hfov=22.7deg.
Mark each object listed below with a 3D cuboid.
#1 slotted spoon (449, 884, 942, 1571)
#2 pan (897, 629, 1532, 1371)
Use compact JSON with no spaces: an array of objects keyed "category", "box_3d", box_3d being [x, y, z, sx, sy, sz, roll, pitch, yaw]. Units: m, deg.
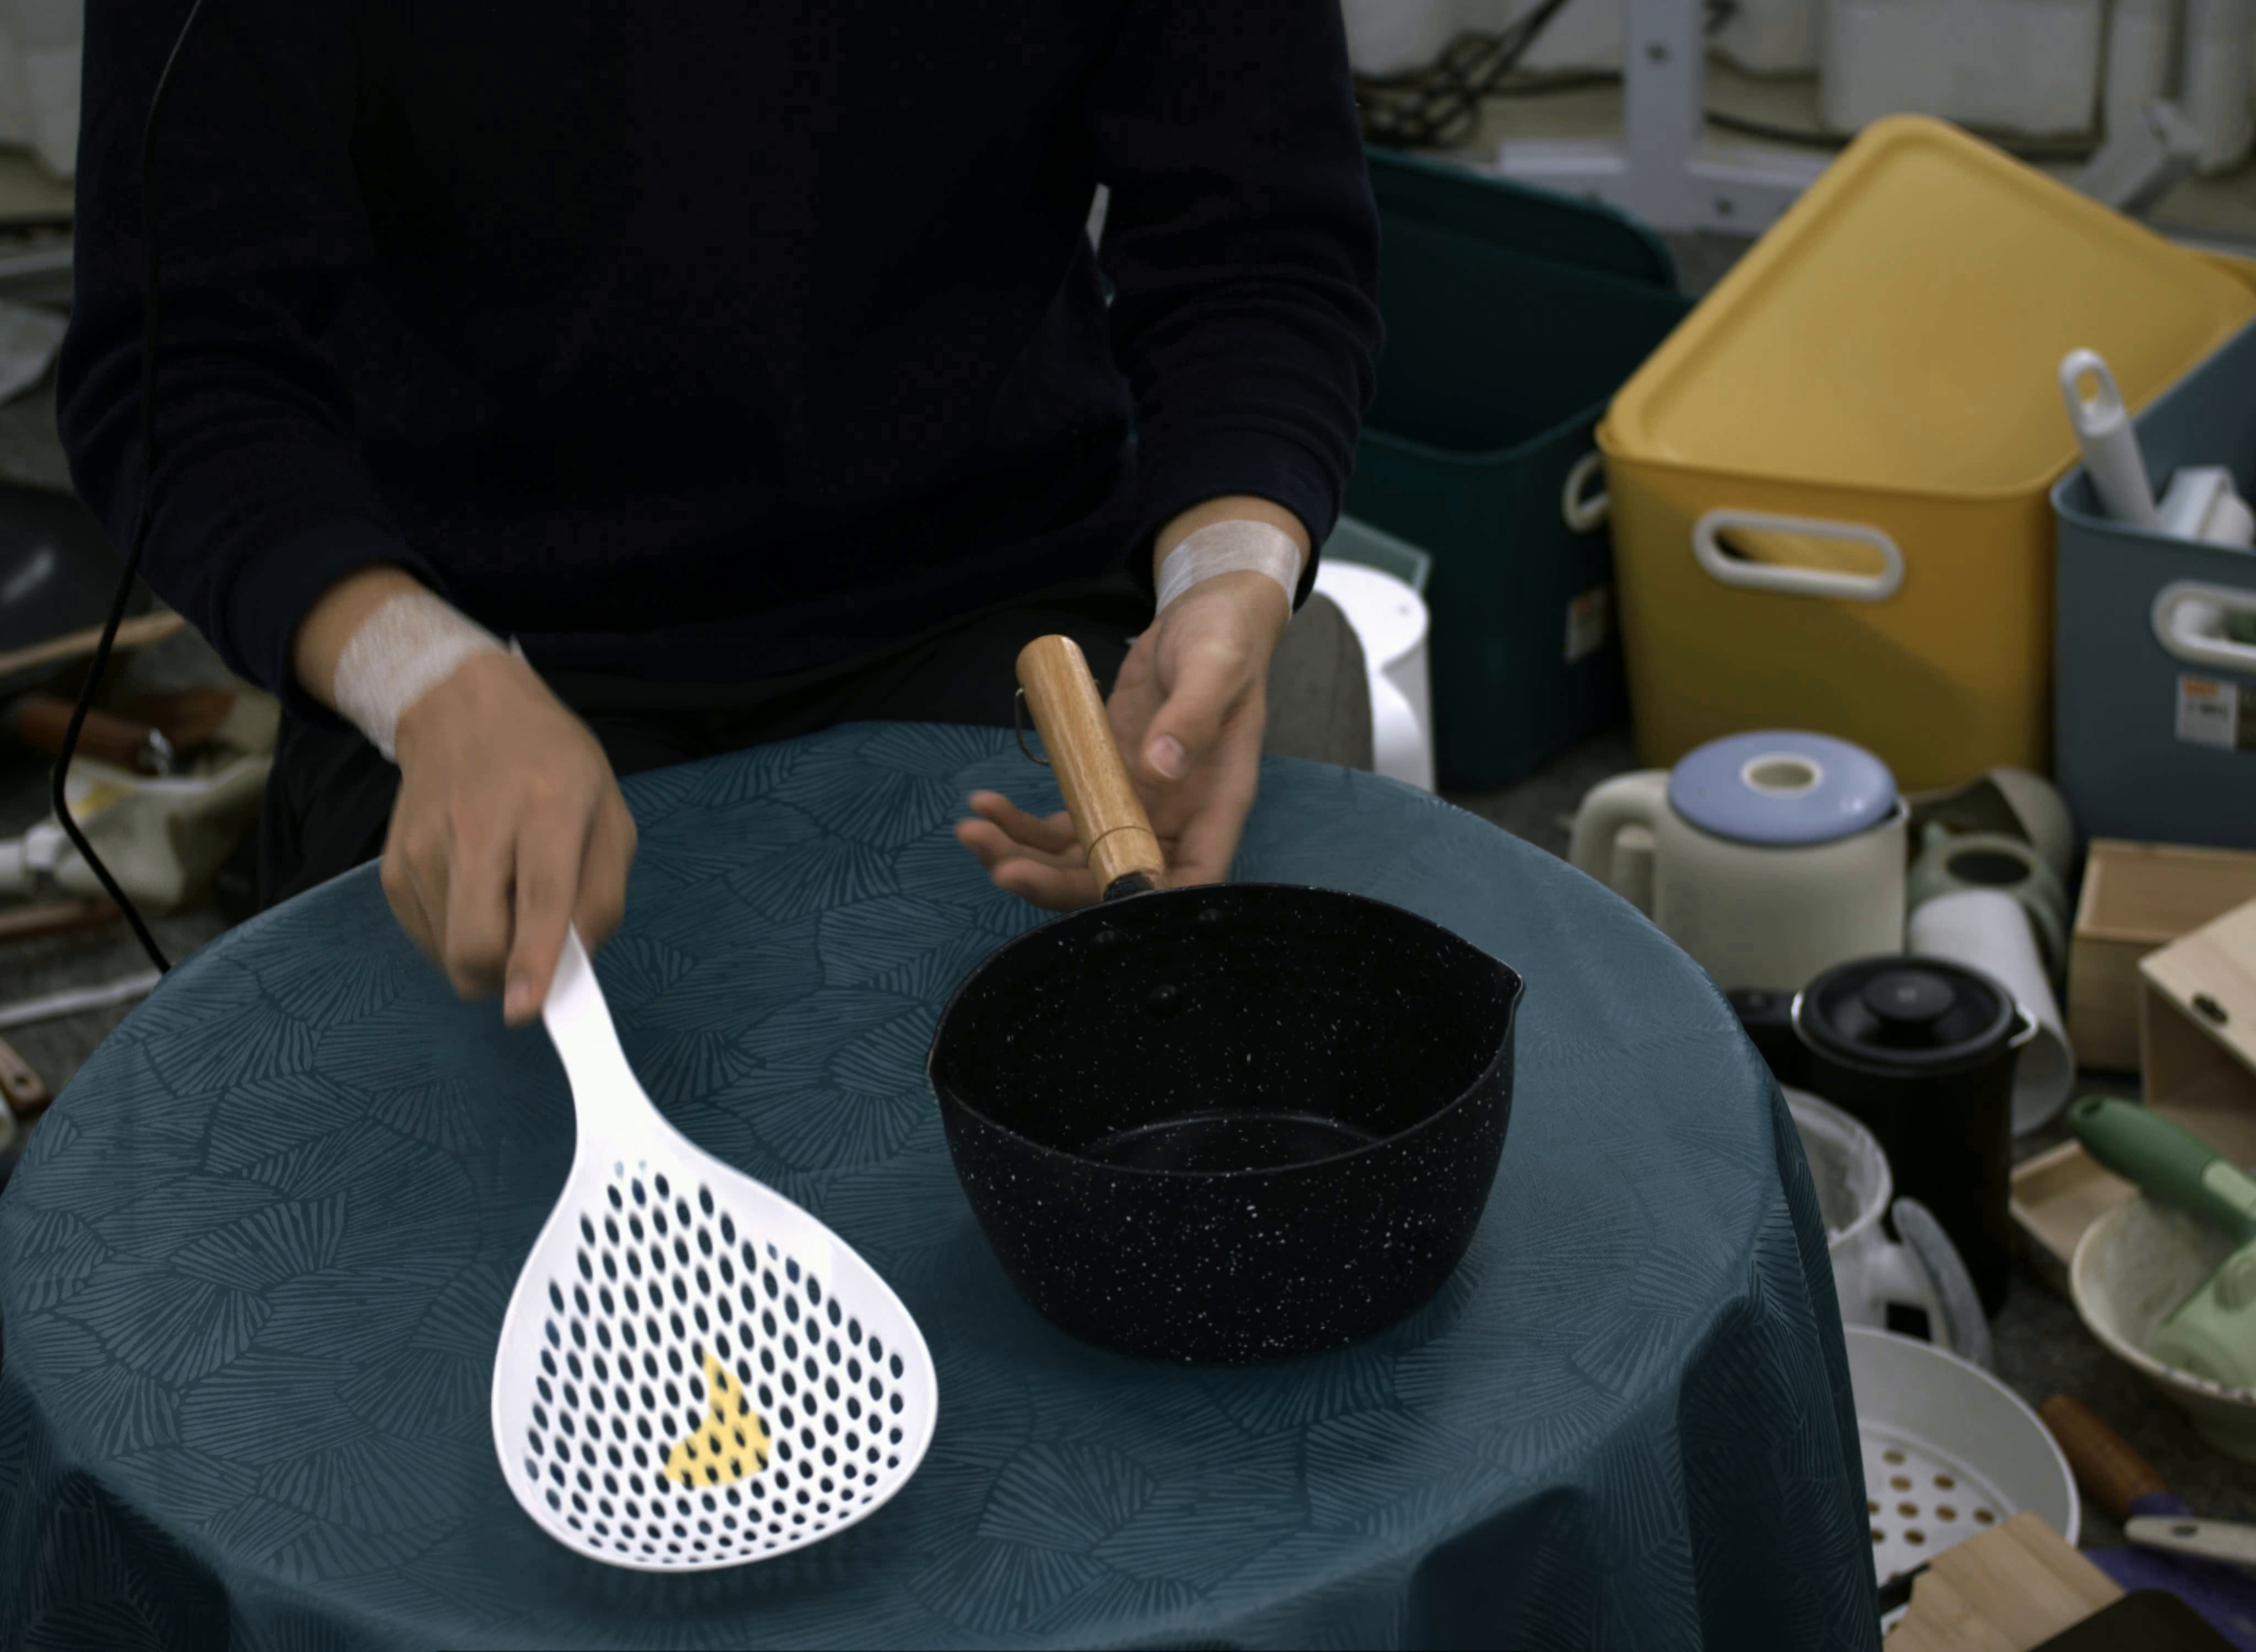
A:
[{"category":"slotted spoon","box_3d":[-0.161,0.115,1.784,0.137,0.049,0.352,-17,45,-12]},{"category":"pan","box_3d":[0.012,0.054,1.876,0.207,0.107,0.346,-10,29,-12]}]
